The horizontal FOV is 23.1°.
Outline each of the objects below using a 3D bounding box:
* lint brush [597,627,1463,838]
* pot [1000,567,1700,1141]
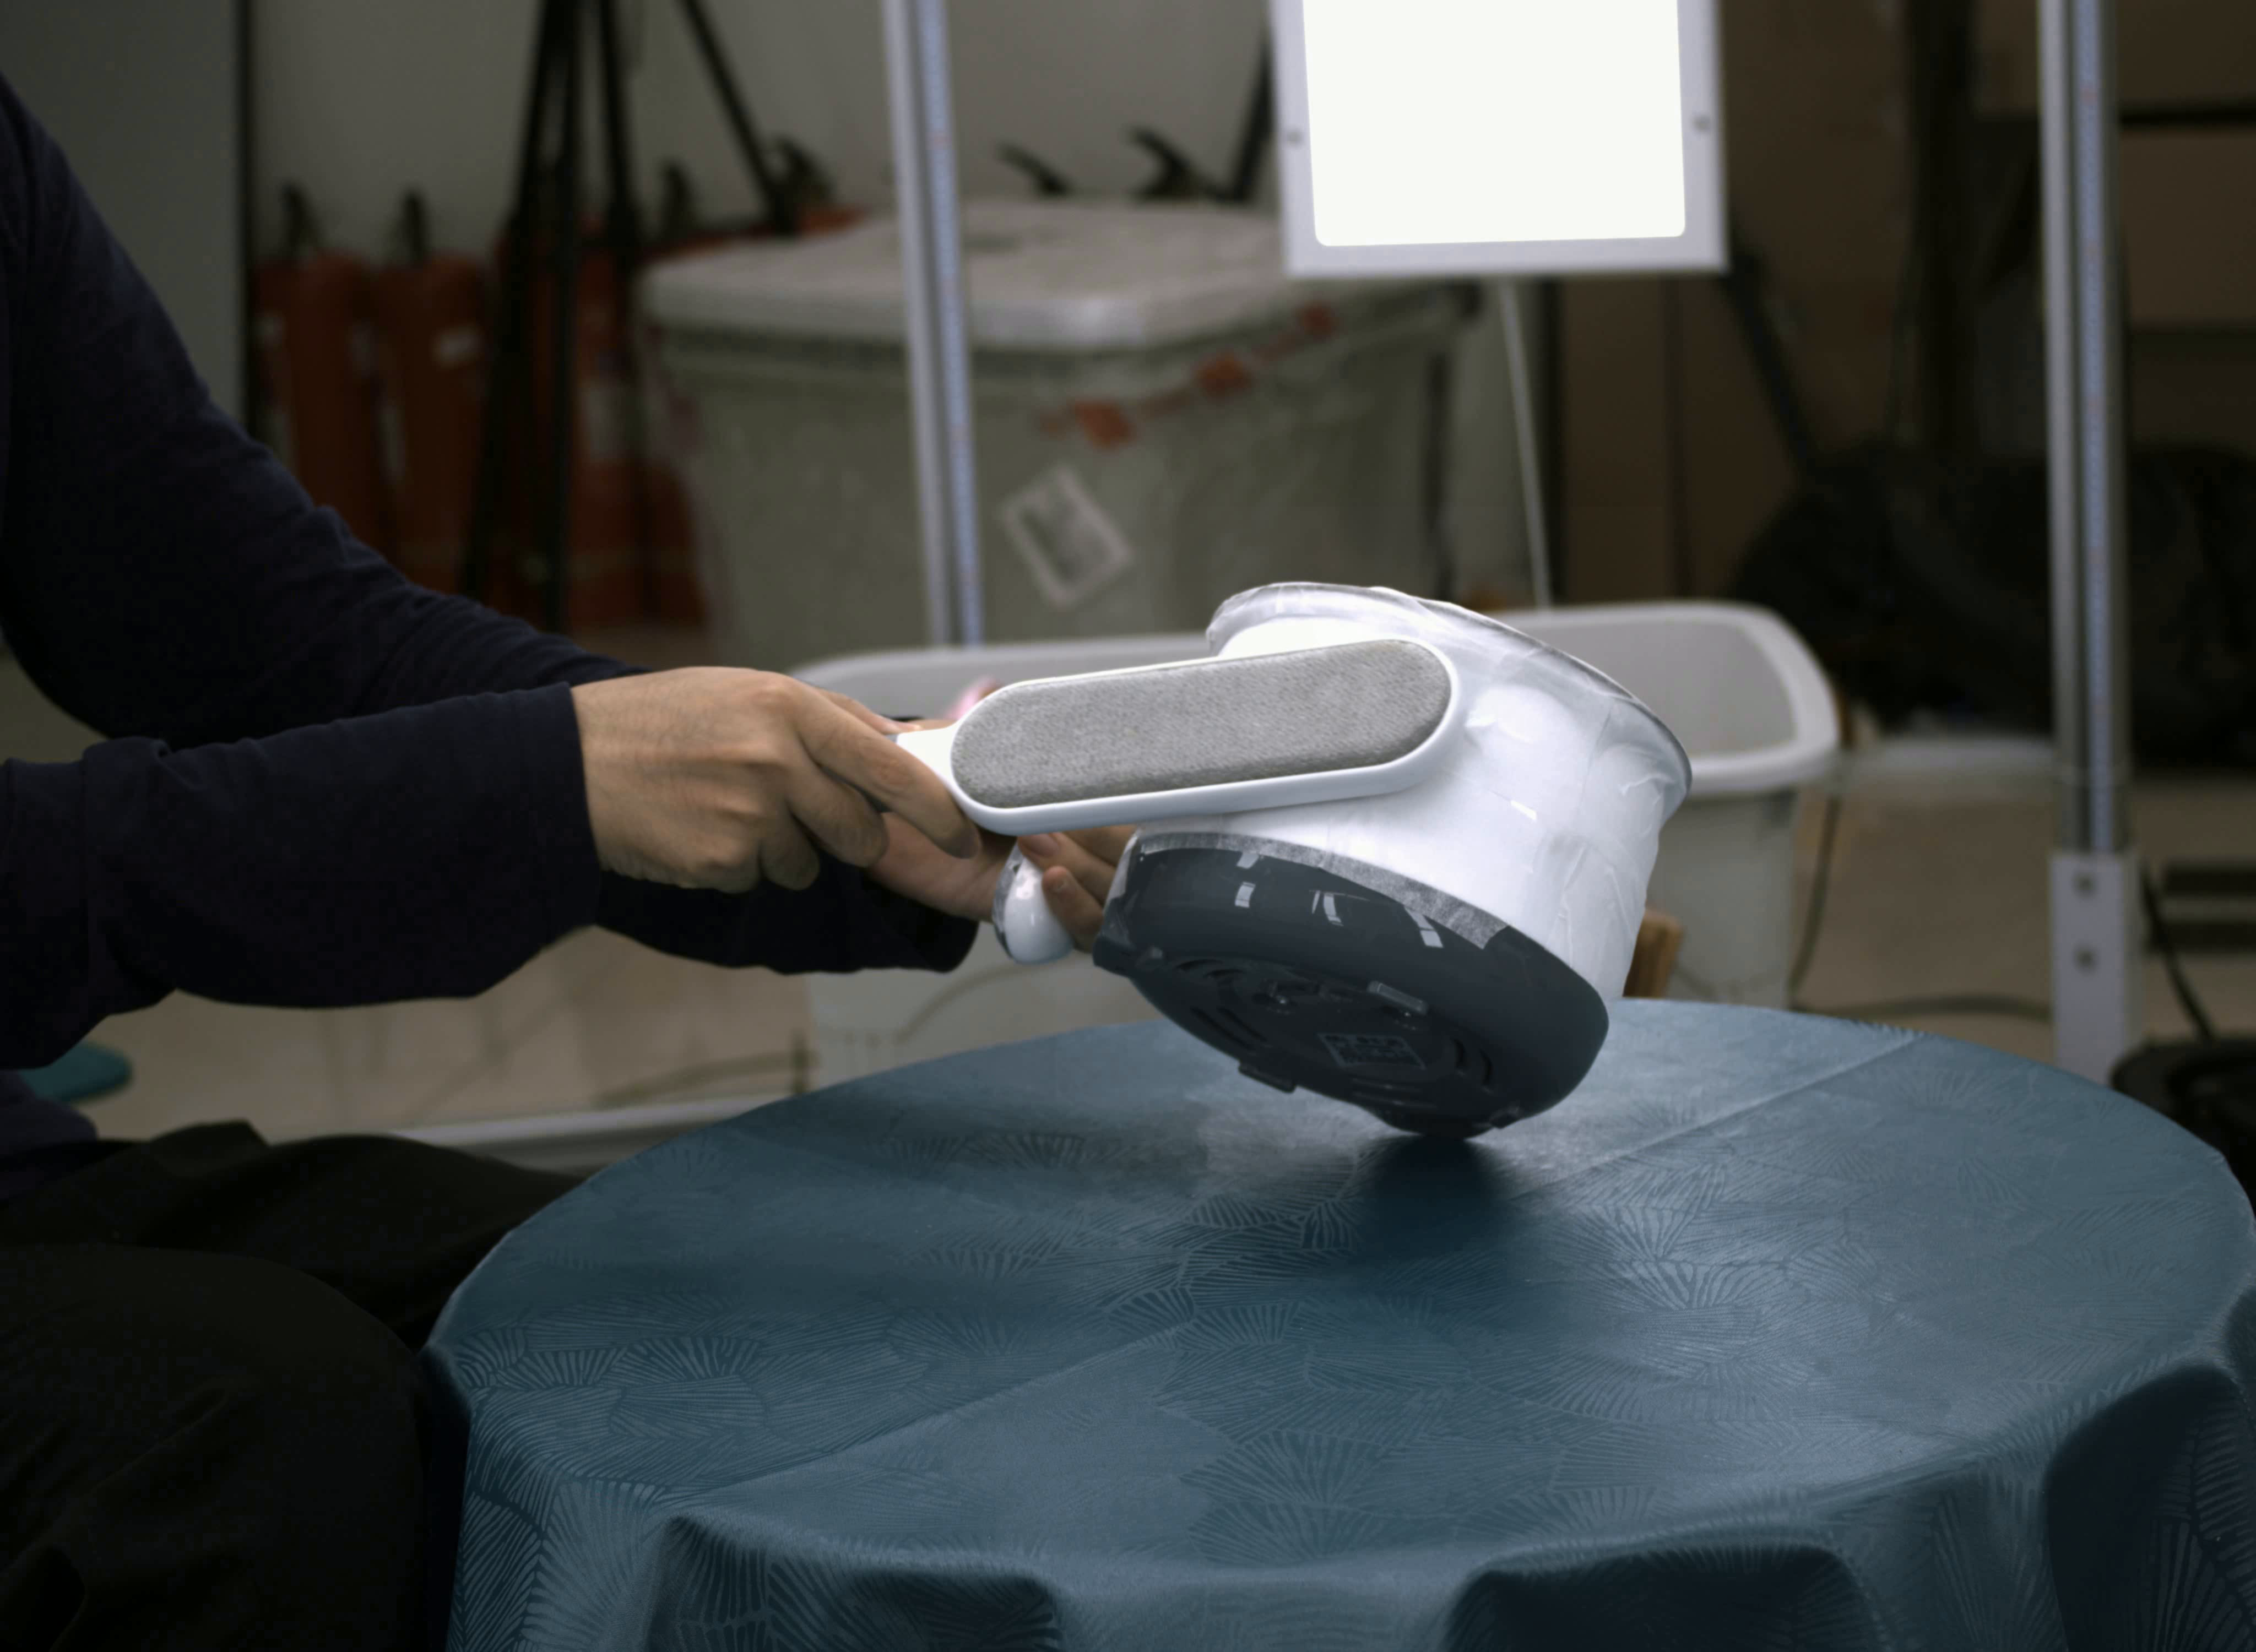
[{"bbox_3d":[-0.036,-0.026,1.848,0.313,0.060,0.020,-7,-29,20],"label":"lint brush"},{"bbox_3d":[0.069,0.008,1.905,0.238,0.135,0.176,10,-24,33],"label":"pot"}]
